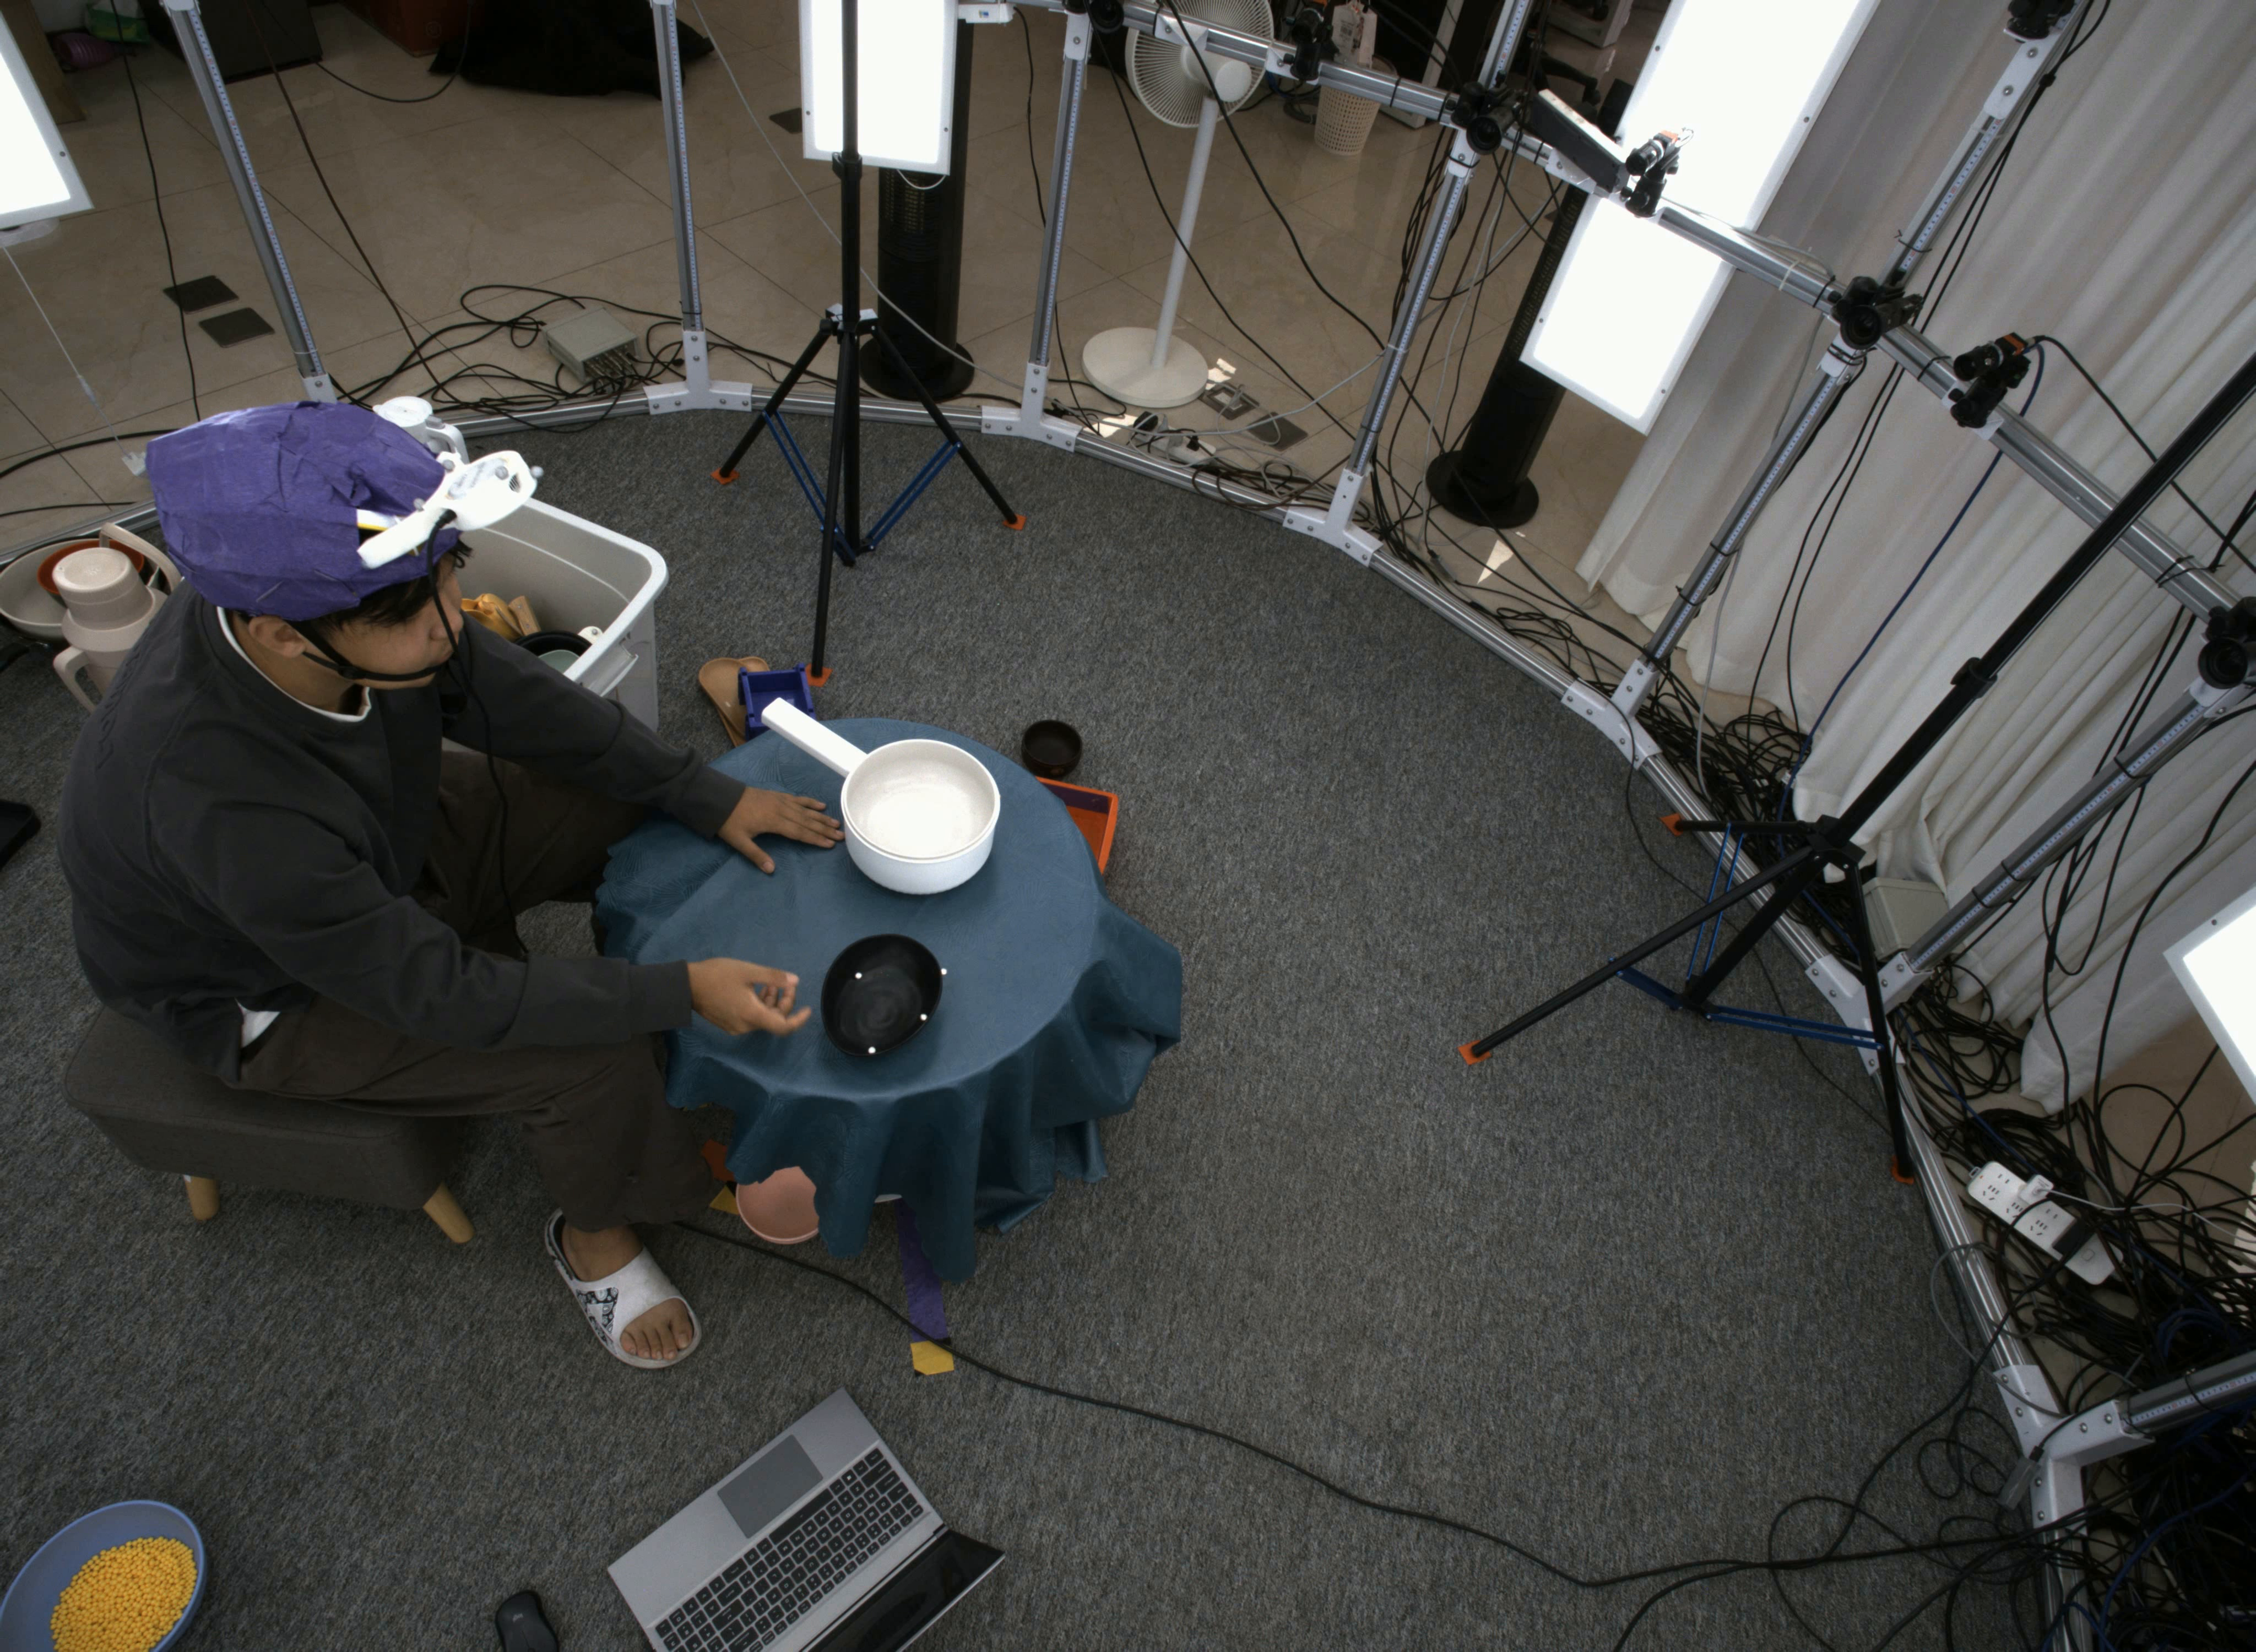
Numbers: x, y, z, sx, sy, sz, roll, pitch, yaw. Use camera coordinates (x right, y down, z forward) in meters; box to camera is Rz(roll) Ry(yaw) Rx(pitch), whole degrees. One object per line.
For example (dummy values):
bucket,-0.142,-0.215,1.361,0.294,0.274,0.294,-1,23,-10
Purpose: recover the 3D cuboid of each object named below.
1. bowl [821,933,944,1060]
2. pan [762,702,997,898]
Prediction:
bowl,-0.293,0.210,1.553,0.136,0.068,0.169,20,53,2
pan,-0.335,-0.042,1.720,0.348,0.104,0.201,30,56,12
